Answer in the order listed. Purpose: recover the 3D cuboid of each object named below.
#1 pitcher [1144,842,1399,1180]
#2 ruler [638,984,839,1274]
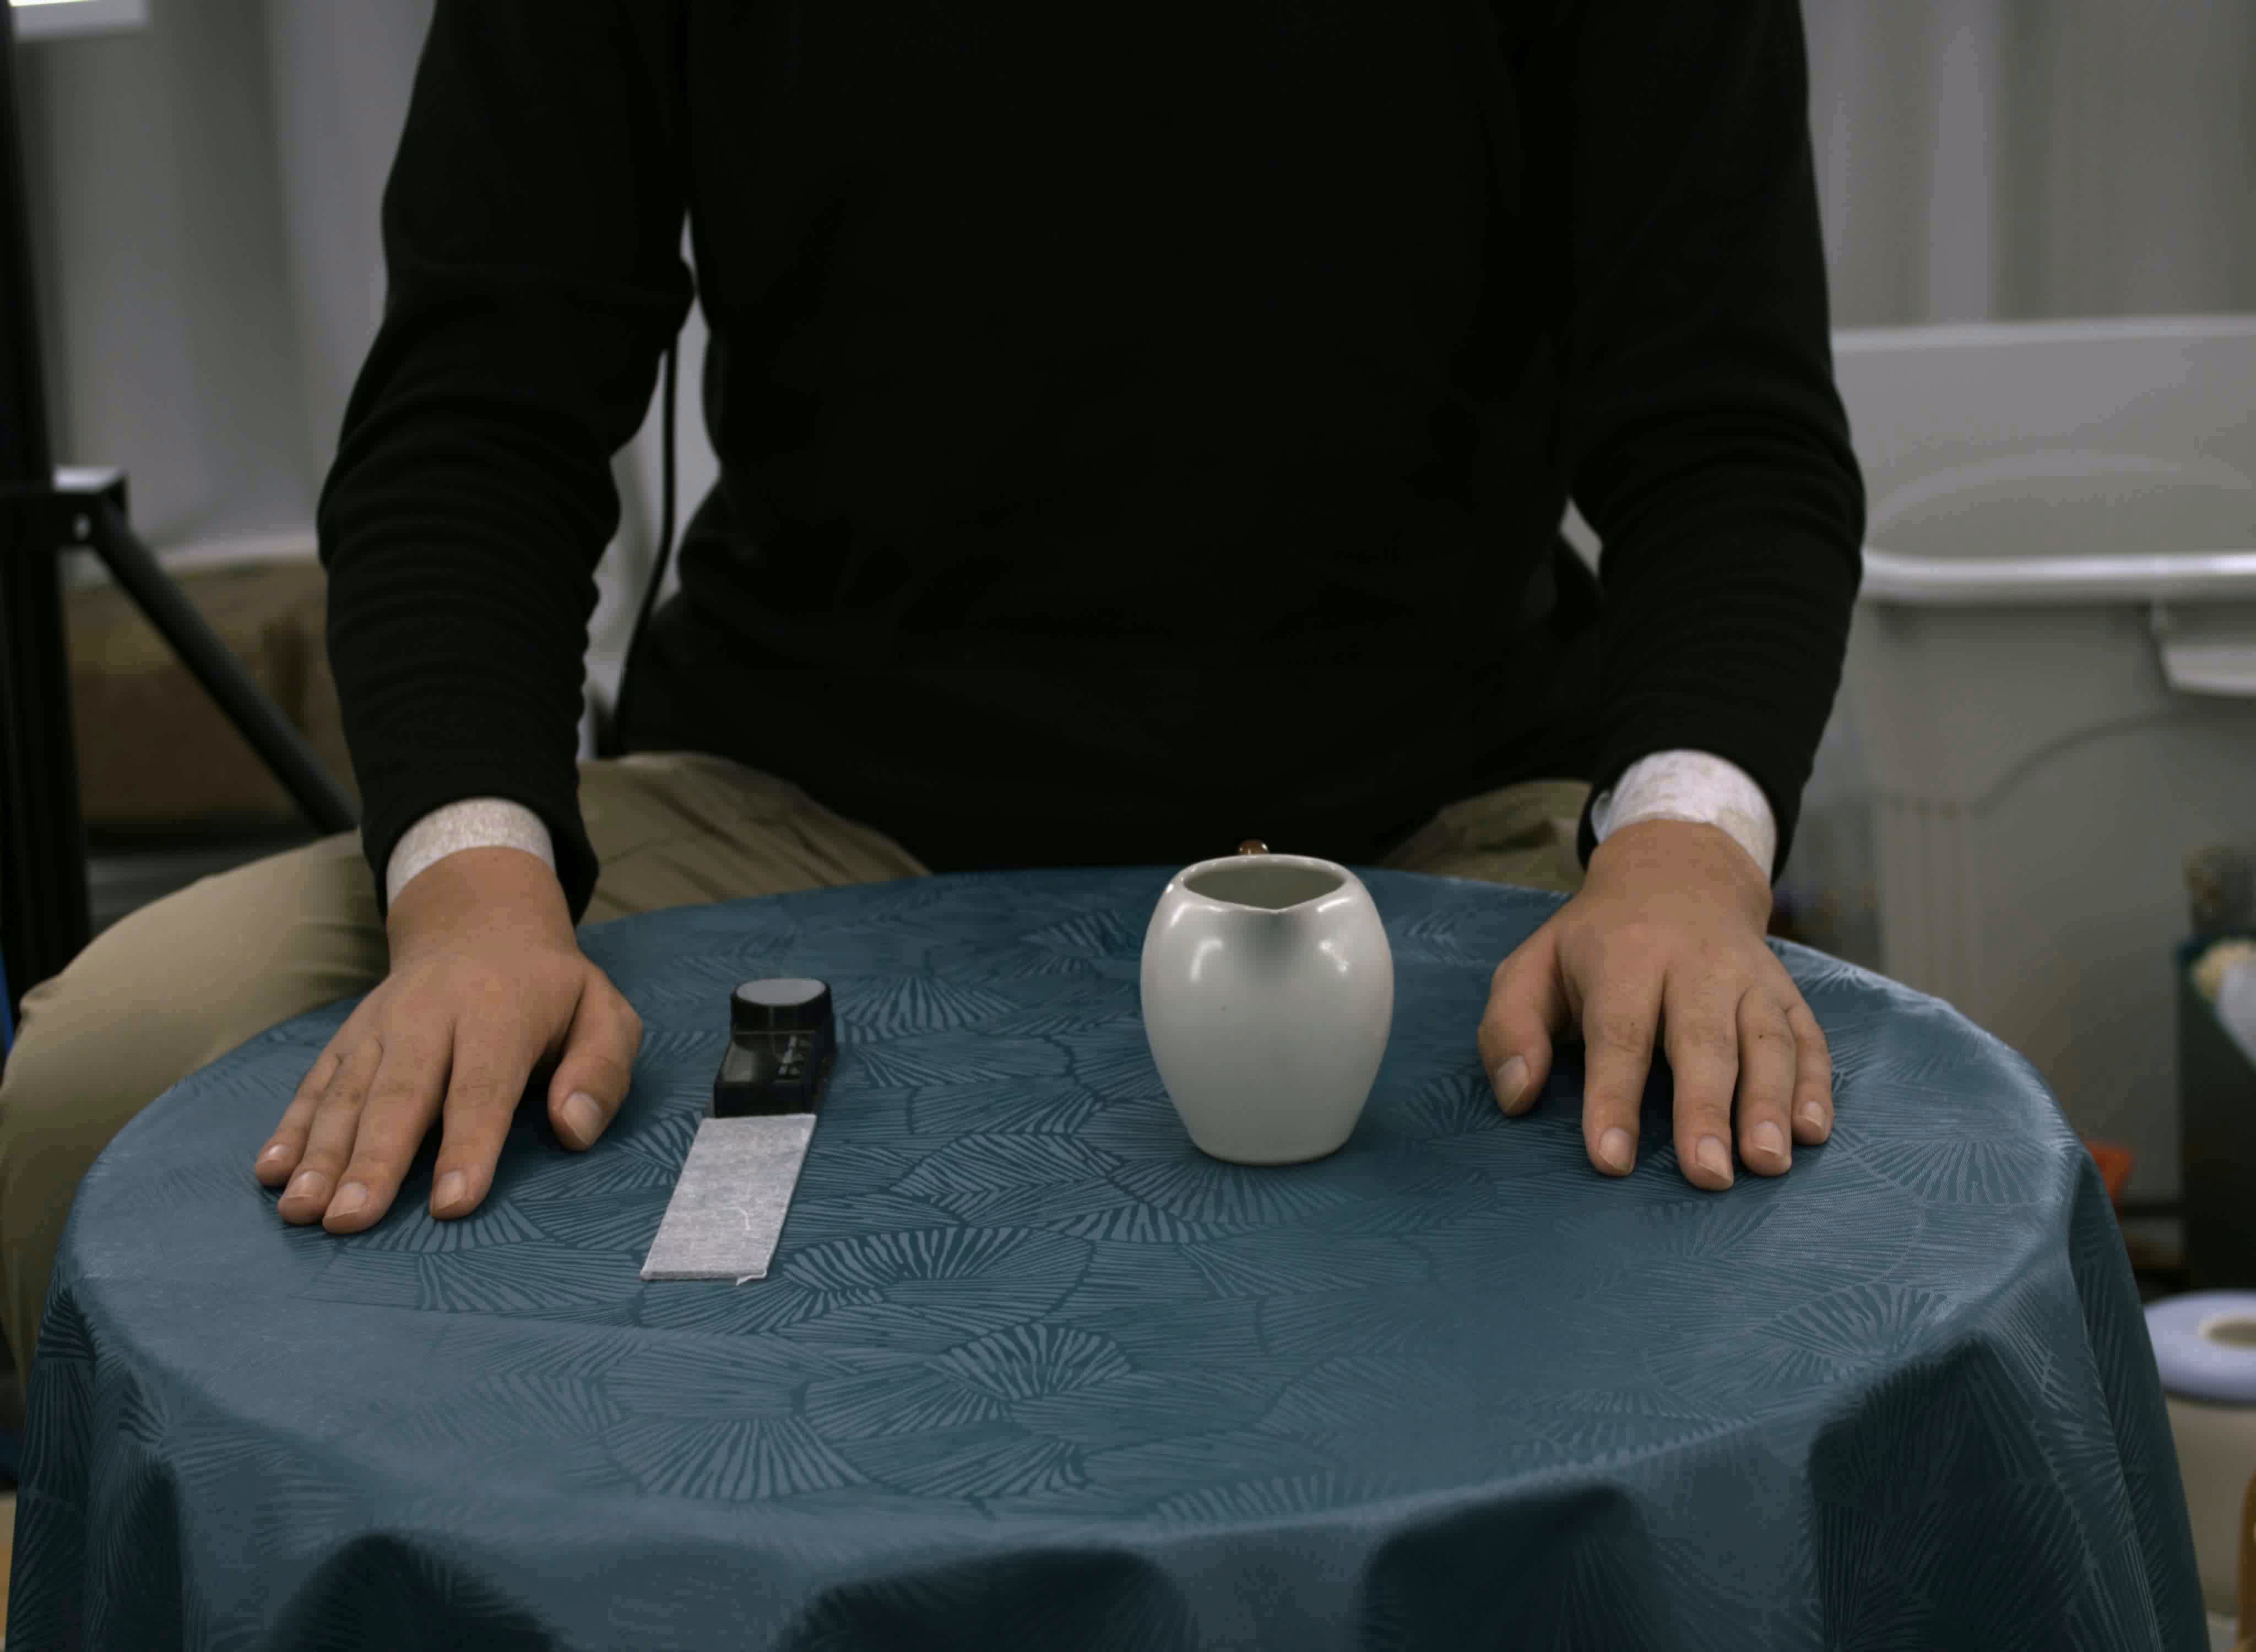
[{"bbox_3d":[0.043,0.054,1.581,0.075,0.088,0.119,2,17,2],"label":"pitcher"},{"bbox_3d":[-0.116,0.089,1.604,0.038,0.024,0.218,-8,14,5],"label":"ruler"}]
